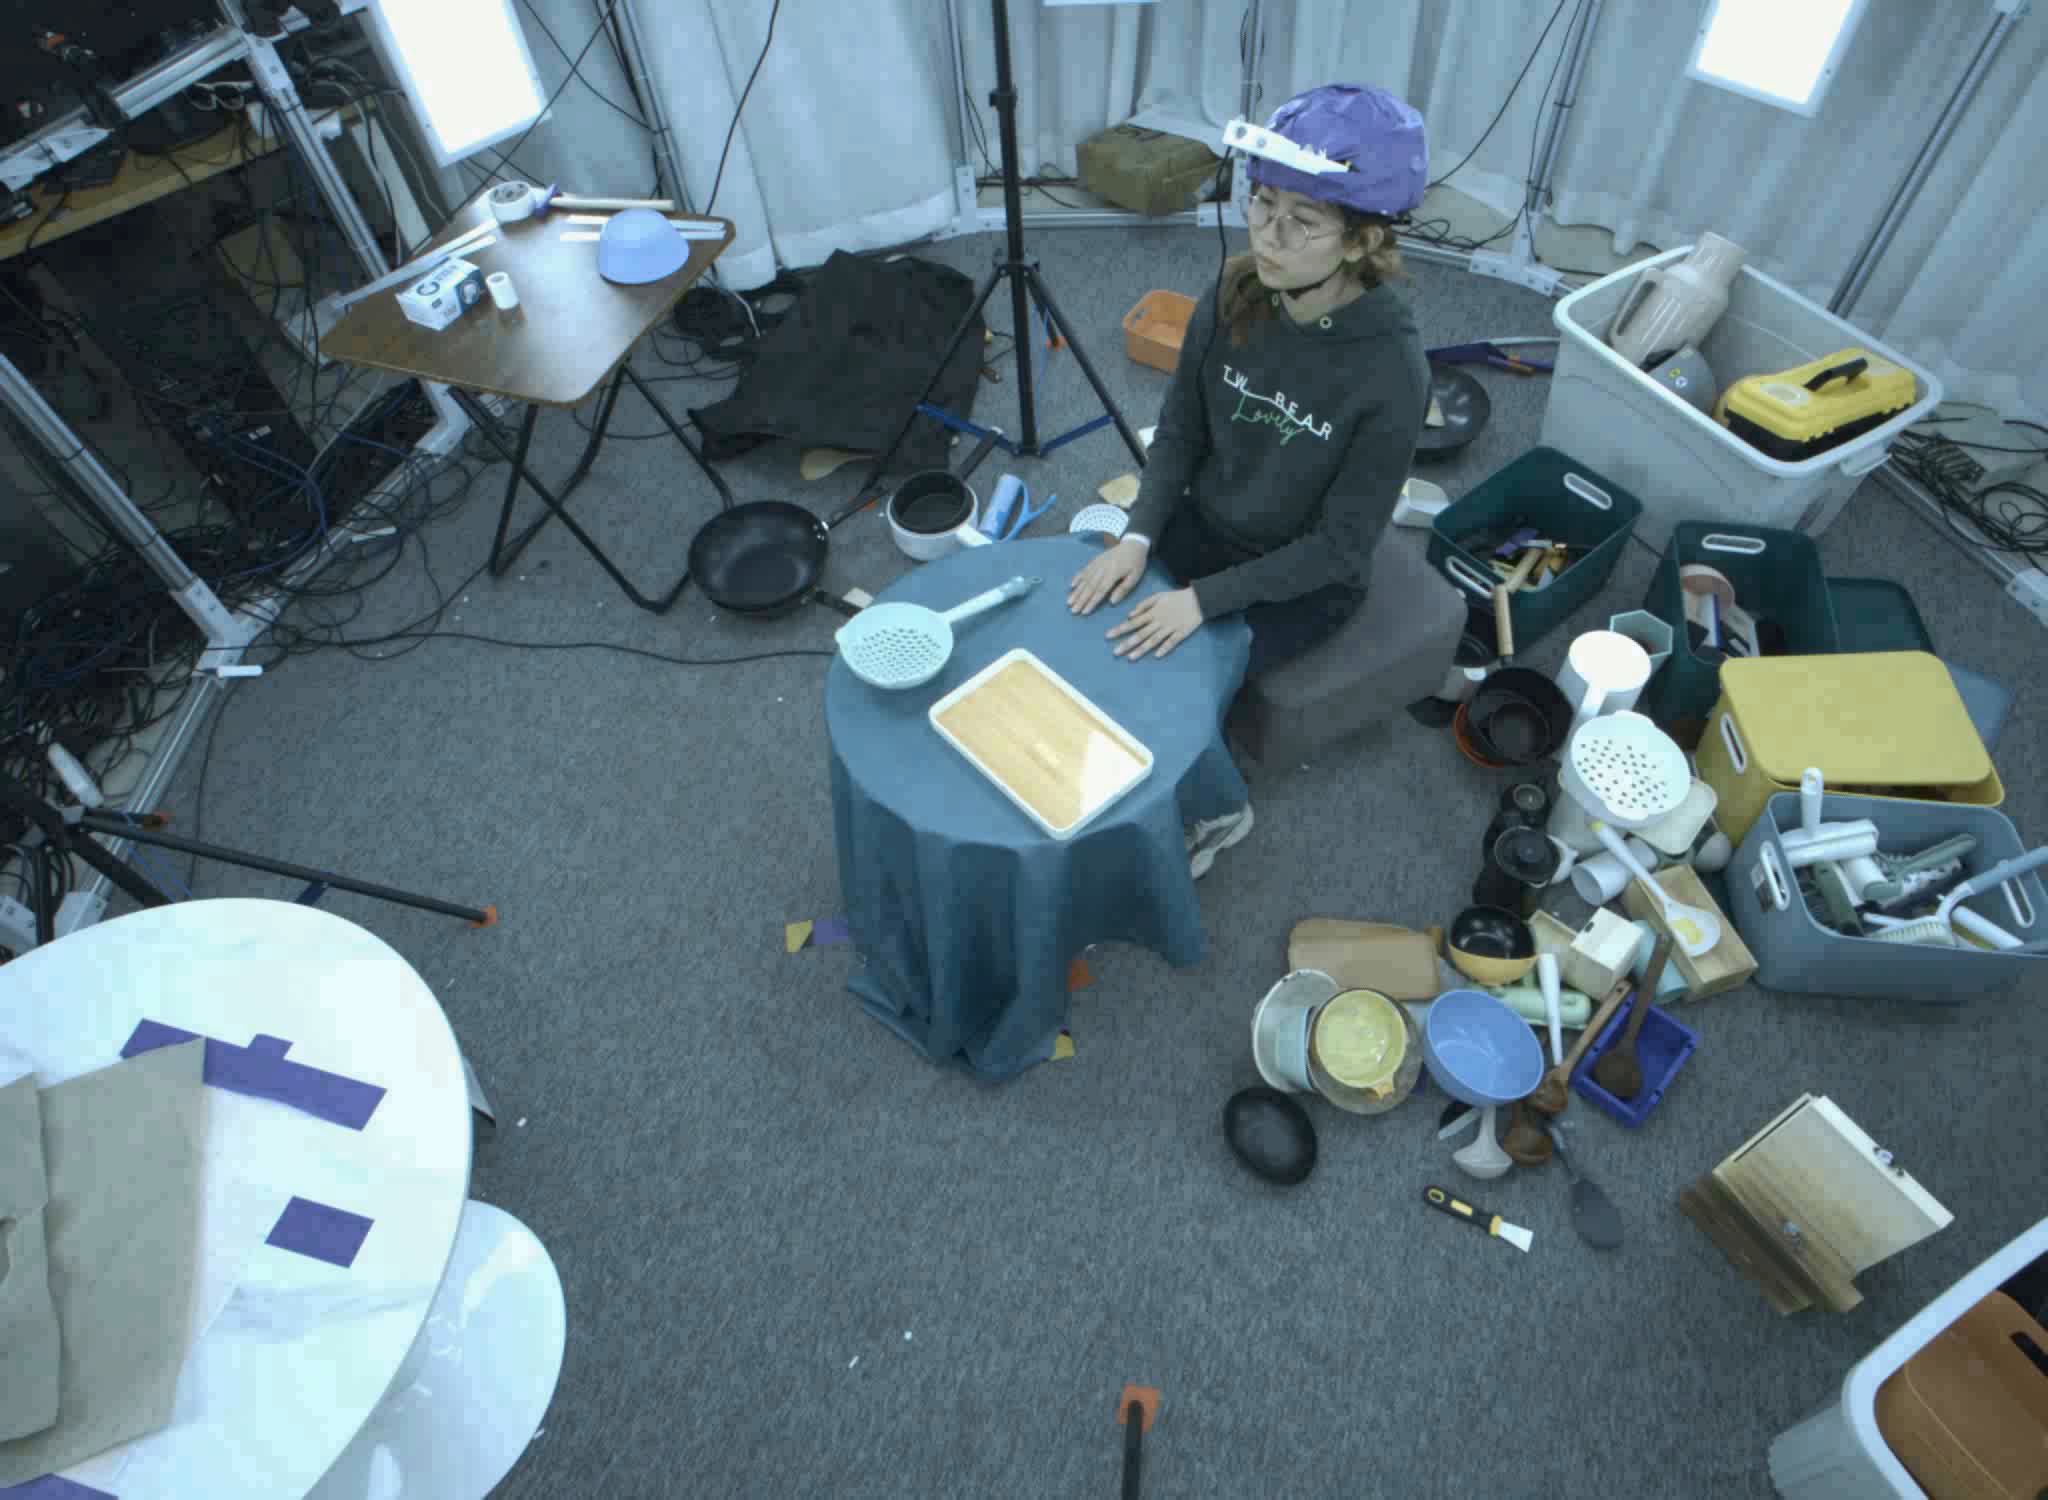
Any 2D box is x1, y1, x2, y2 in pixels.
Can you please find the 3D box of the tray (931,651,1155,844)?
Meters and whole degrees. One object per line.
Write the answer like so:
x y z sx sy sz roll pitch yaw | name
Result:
0.025 -0.010 1.788 0.193 0.028 0.295 -37 62 -22 | tray

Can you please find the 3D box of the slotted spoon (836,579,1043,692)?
-0.115 -0.196 1.899 0.361 0.076 0.166 -34 61 -20 | slotted spoon
